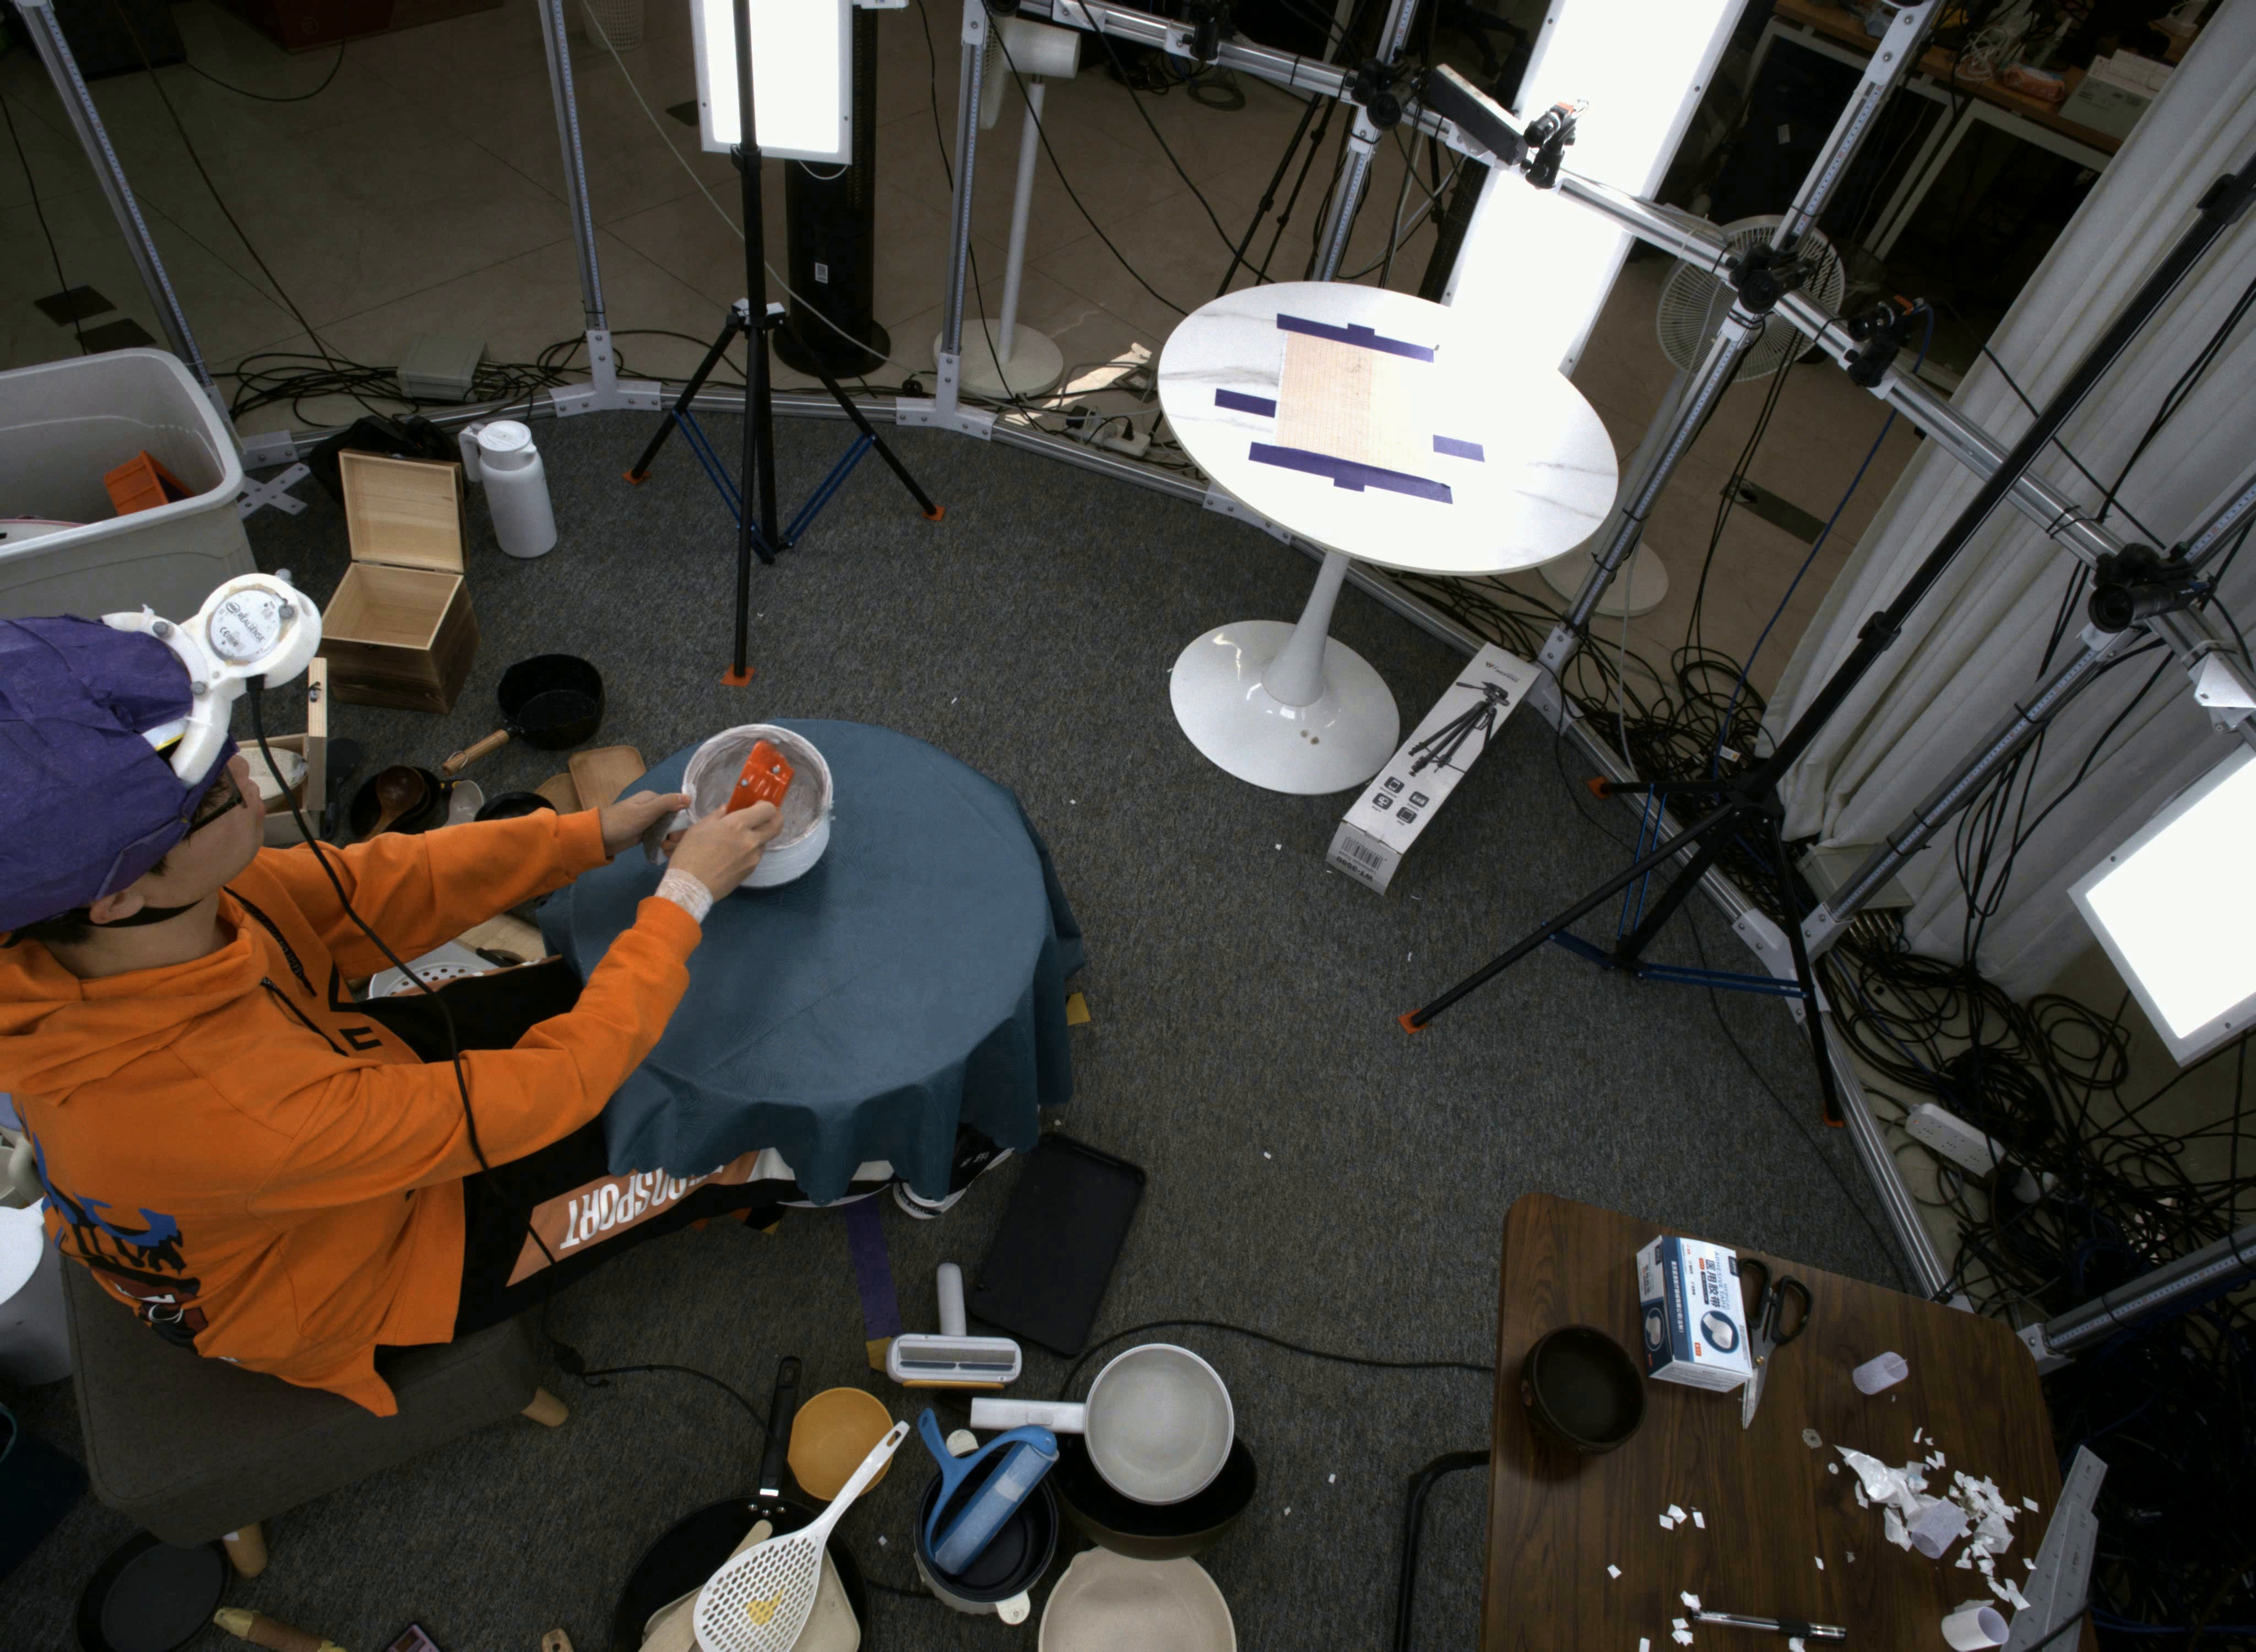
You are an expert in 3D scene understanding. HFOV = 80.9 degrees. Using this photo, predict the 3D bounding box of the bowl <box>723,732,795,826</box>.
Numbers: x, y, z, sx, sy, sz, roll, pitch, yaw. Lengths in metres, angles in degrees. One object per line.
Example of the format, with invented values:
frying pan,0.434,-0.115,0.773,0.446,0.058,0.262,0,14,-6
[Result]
bowl,-0.426,-0.048,1.506,0.051,0.120,0.117,21,50,-9

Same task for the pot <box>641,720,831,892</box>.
pot,-0.482,-0.013,1.584,0.235,0.138,0.176,-18,70,-24
